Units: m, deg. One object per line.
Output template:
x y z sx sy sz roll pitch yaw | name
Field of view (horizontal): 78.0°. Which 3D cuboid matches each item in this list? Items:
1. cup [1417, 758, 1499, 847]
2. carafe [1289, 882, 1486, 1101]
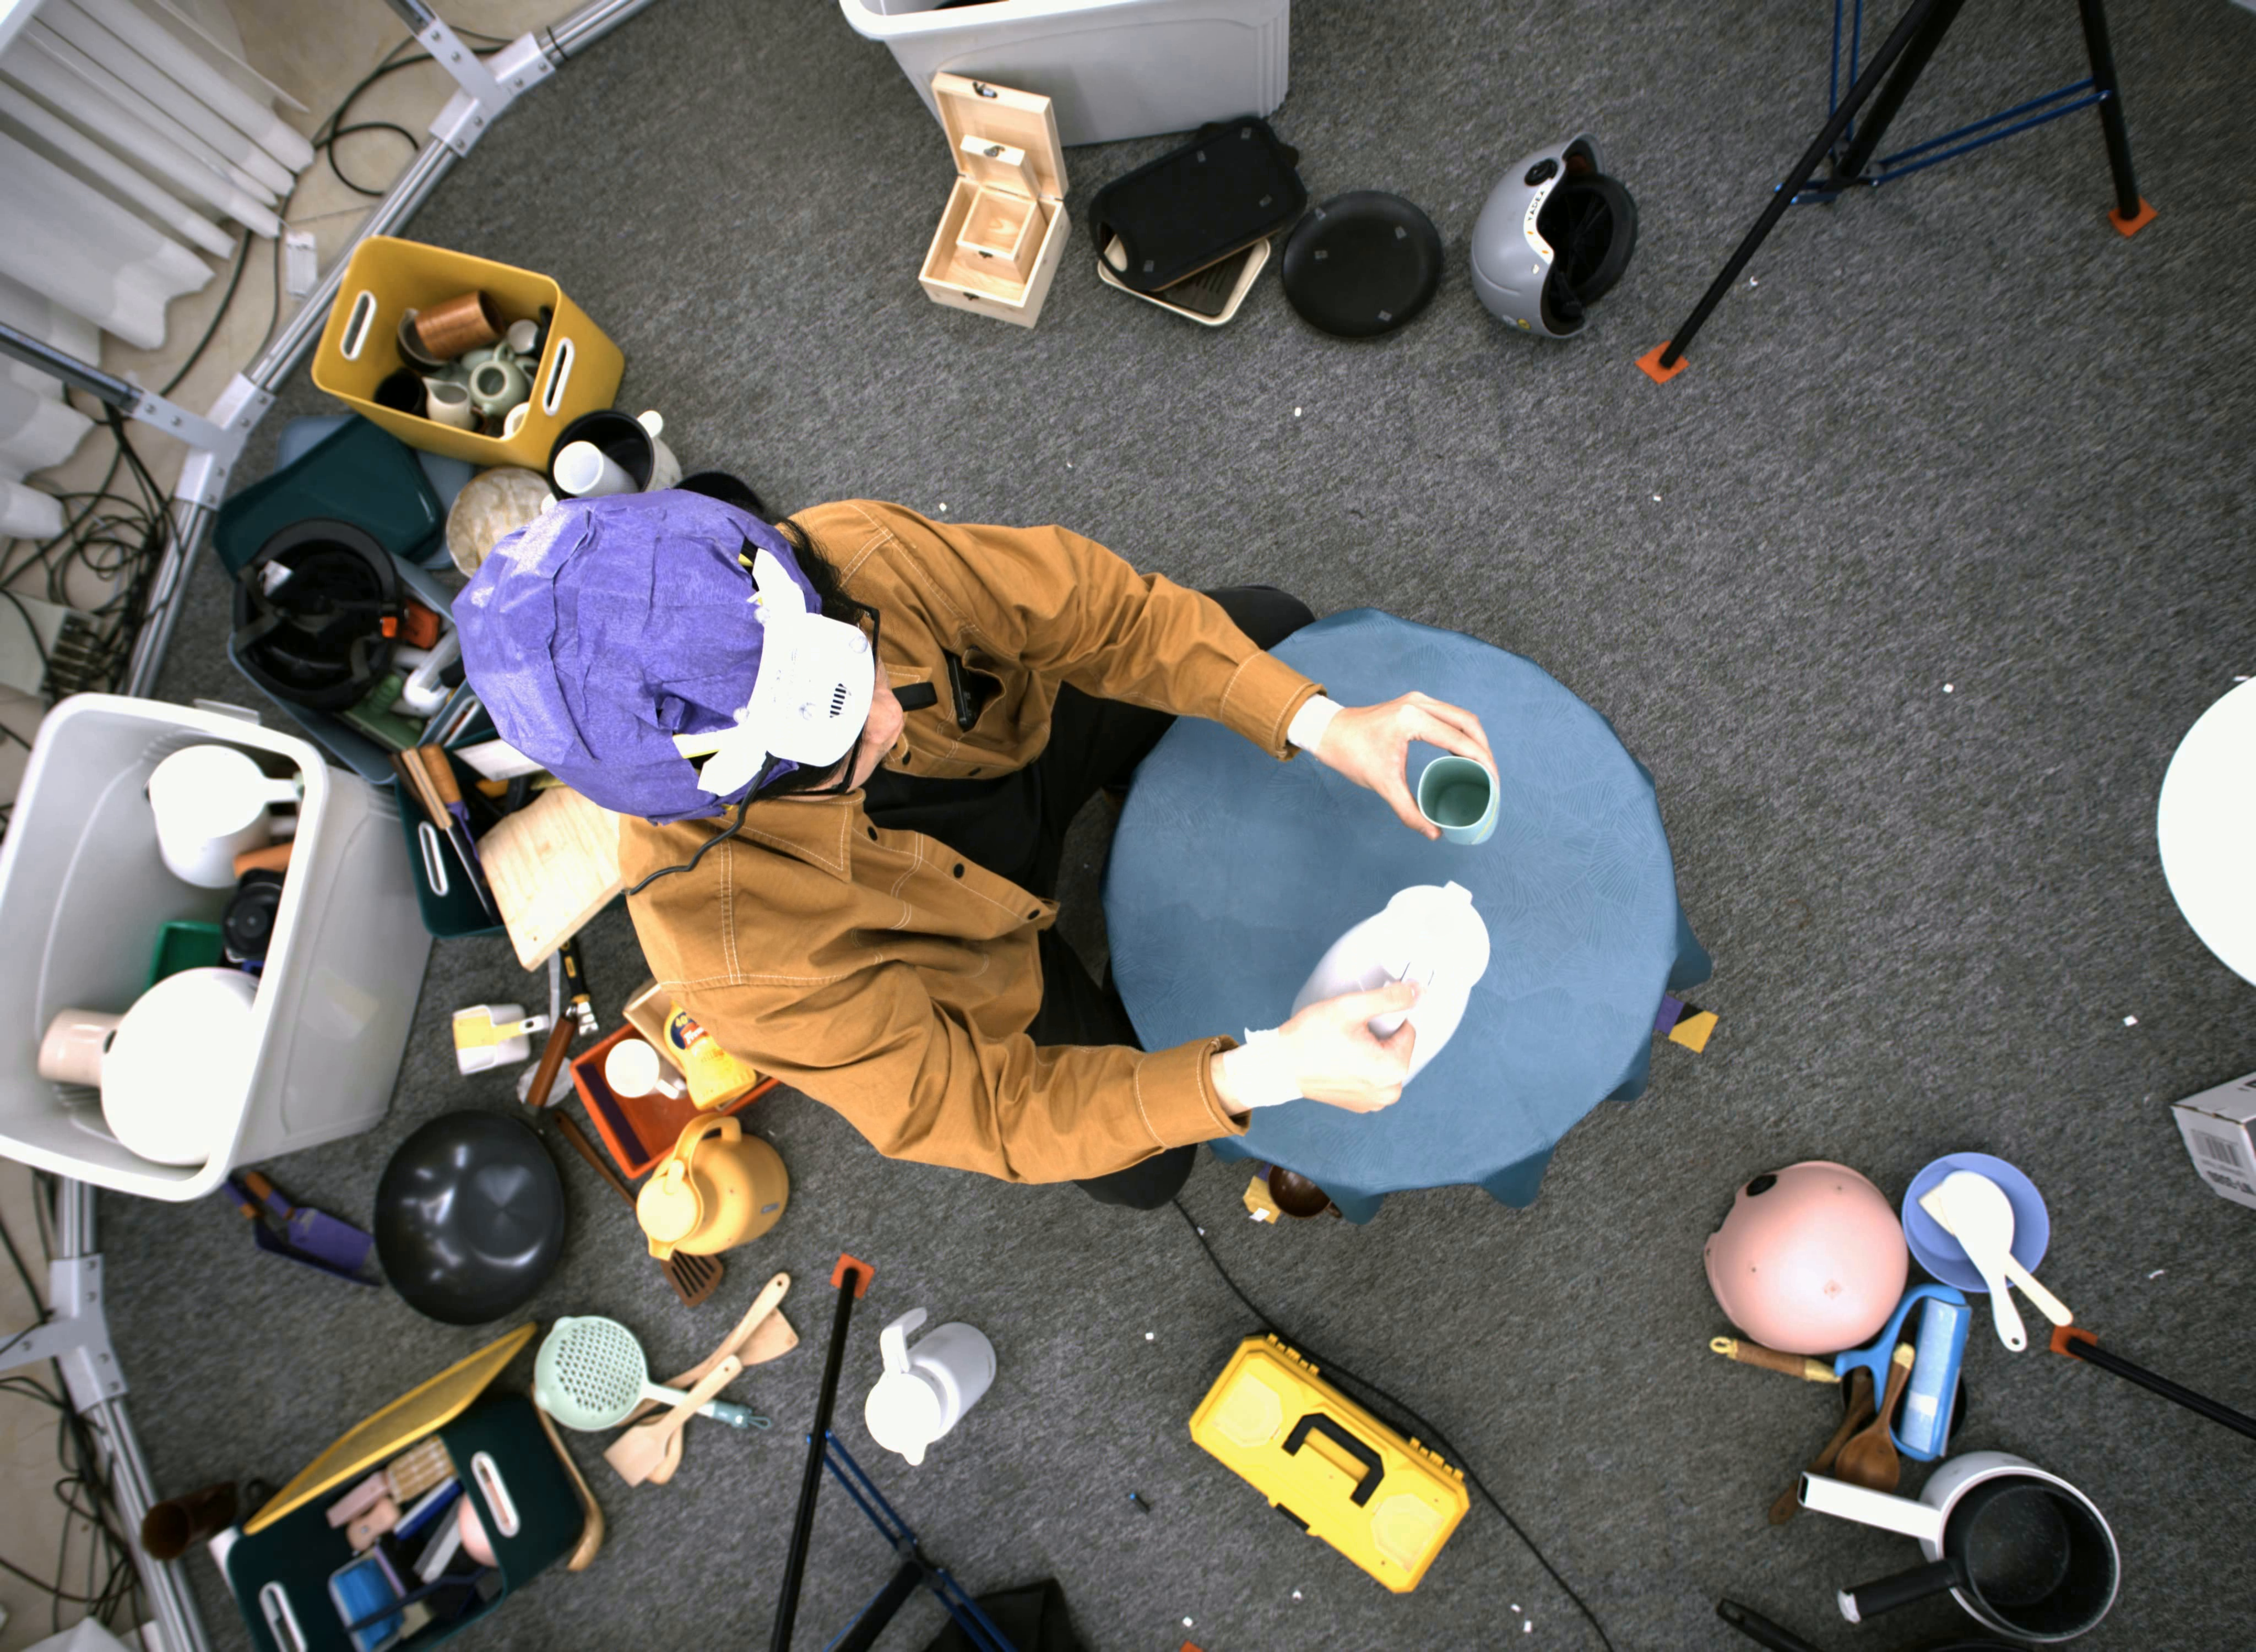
0.299 -0.021 1.242 0.067 0.132 0.066 -2 83 18 | cup
0.217 0.154 1.177 0.132 0.253 0.164 30 67 8 | carafe
